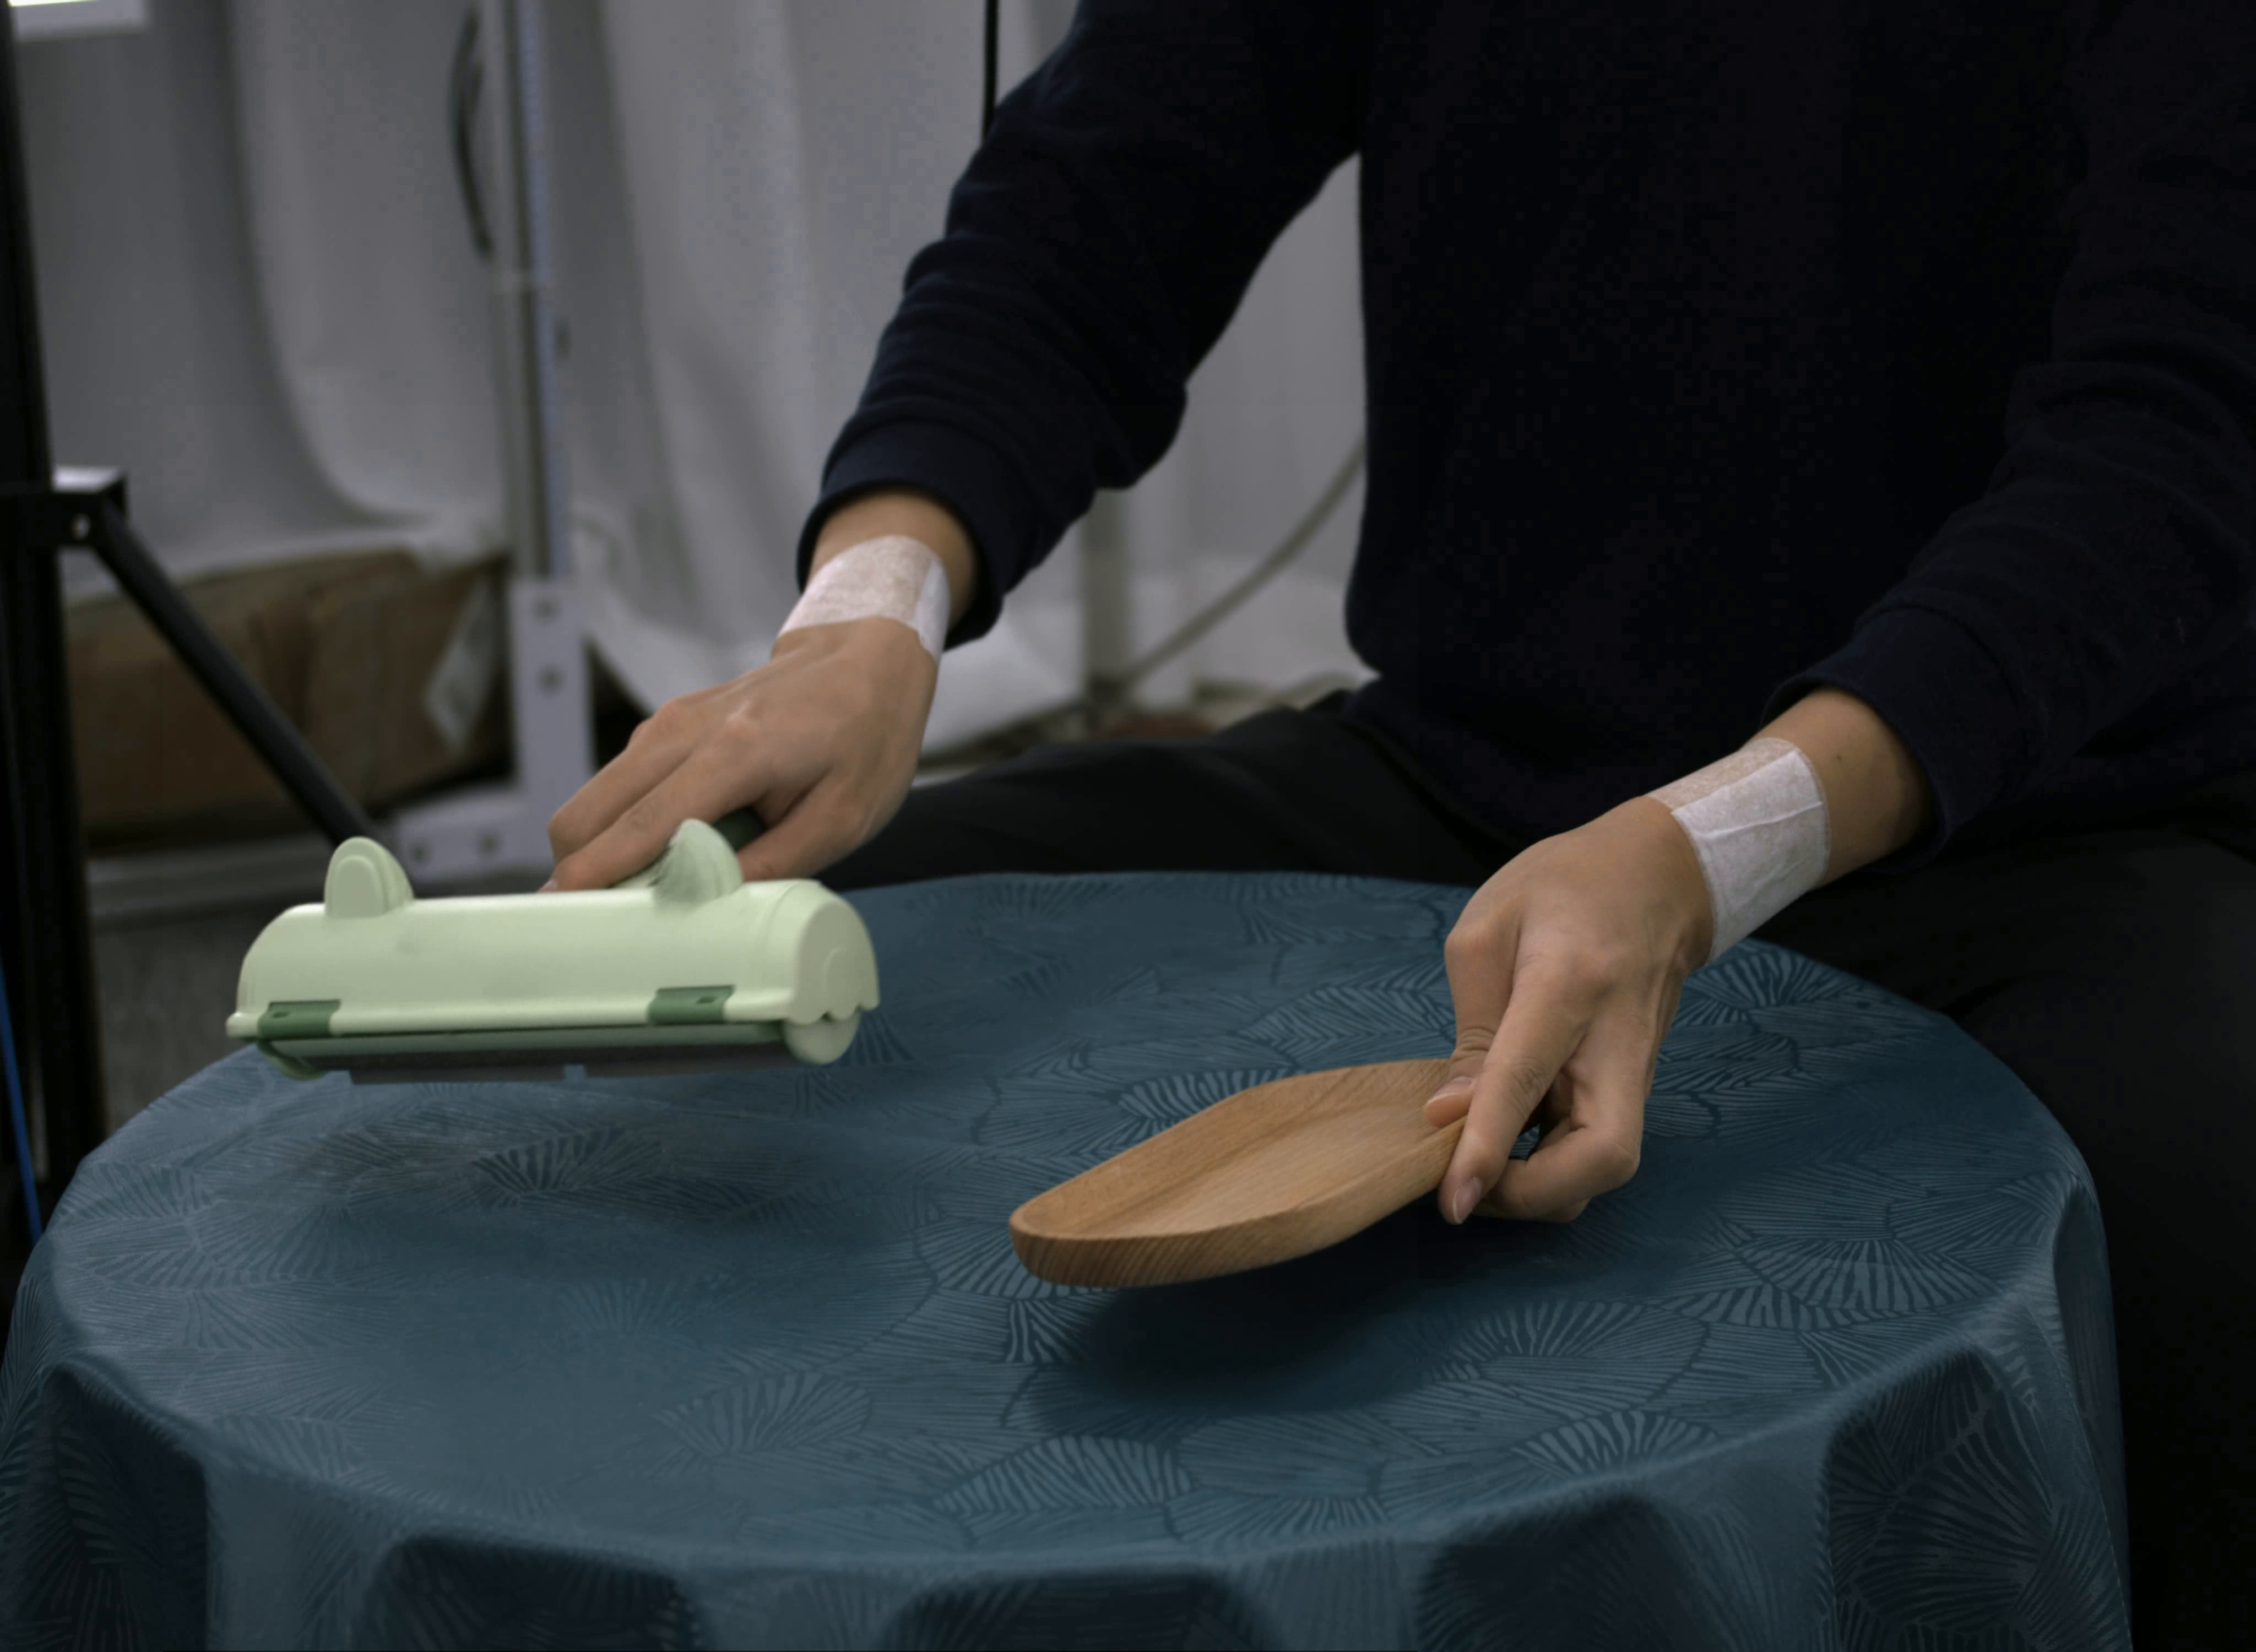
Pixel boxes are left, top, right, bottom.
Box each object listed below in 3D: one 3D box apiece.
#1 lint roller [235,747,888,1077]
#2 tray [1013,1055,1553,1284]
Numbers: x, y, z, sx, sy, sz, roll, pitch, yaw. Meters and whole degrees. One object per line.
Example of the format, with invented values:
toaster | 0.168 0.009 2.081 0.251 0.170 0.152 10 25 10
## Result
lint roller | -0.154 0.006 1.627 0.201 0.081 0.182 -3 33 26
tray | 0.047 0.095 1.491 0.103 0.020 0.227 -4 7 26
